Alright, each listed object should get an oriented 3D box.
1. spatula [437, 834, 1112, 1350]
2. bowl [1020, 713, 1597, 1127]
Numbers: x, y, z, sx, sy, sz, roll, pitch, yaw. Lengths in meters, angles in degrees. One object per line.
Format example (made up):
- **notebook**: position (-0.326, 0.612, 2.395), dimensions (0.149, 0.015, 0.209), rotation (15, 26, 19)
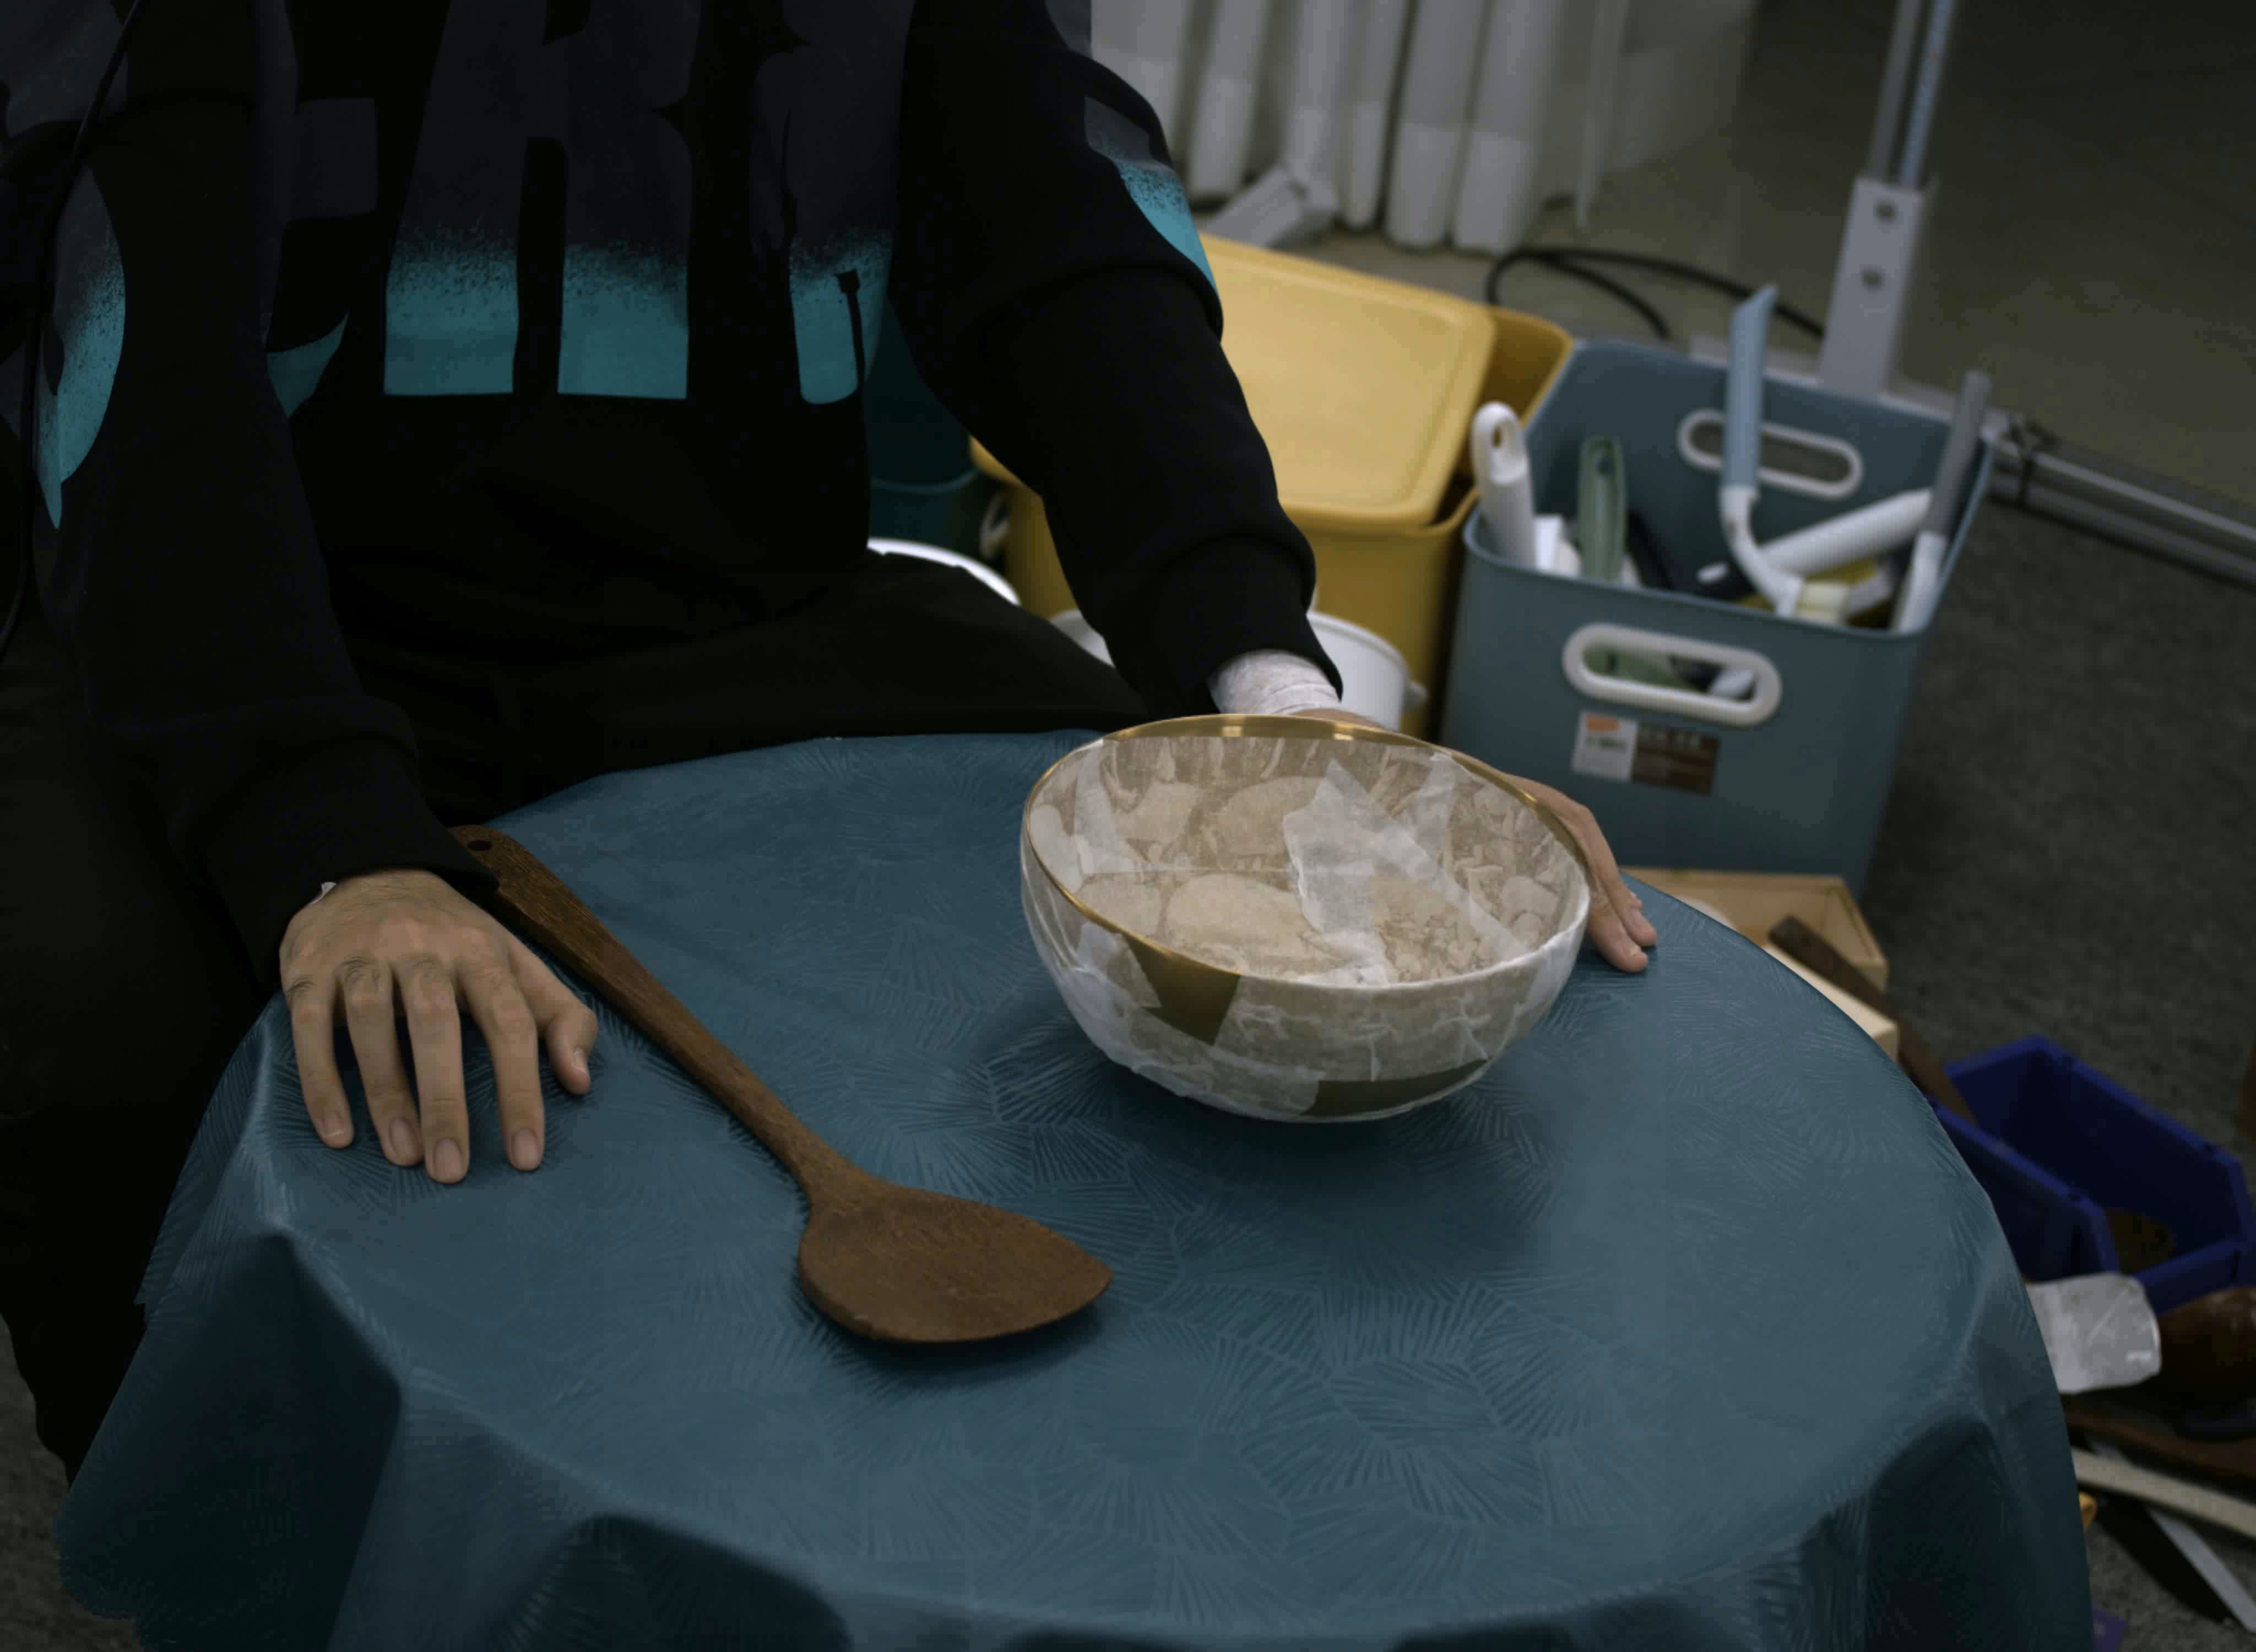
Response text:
- **spatula**: position (-0.142, 0.083, 1.833), dimensions (0.095, 0.016, 0.389), rotation (-11, 31, -33)
- **bowl**: position (0.059, 0.044, 1.869), dimensions (0.214, 0.094, 0.216), rotation (3, 26, -2)
